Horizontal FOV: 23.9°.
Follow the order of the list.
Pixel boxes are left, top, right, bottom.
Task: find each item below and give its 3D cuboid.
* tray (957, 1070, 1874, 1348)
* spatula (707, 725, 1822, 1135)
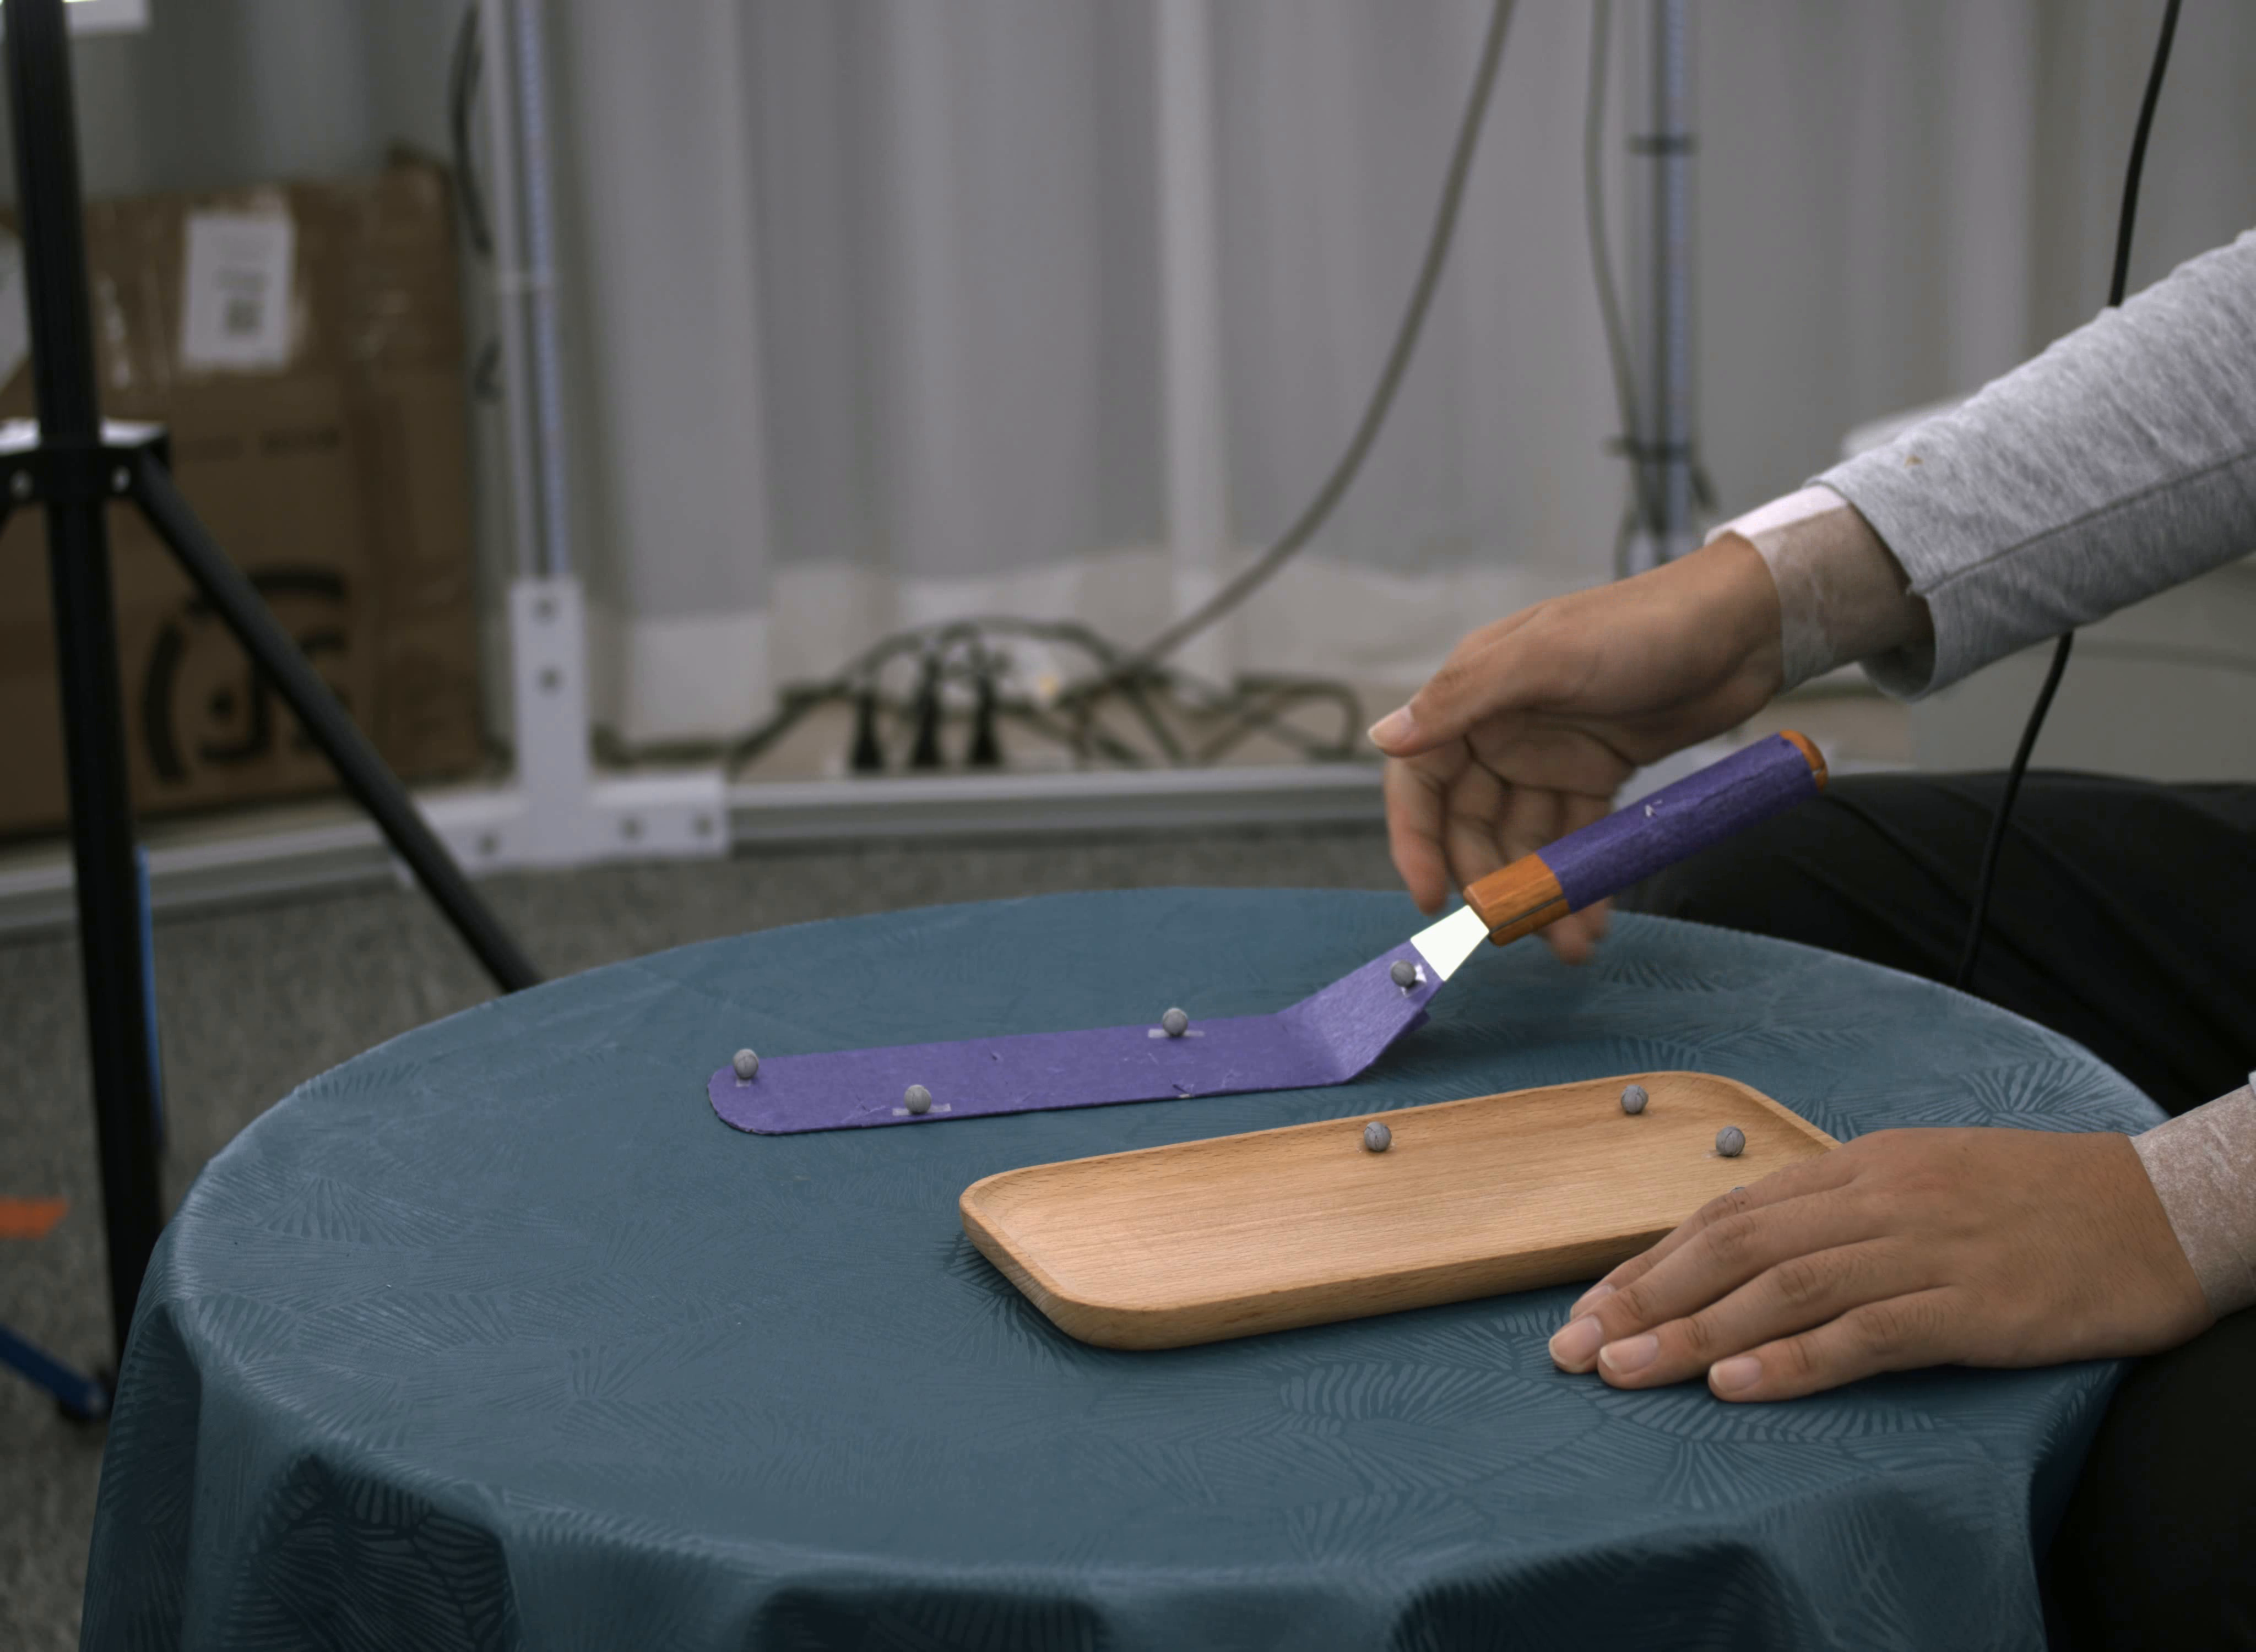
[{"bbox_3d":[0.082,0.108,1.511,0.246,0.023,0.132,-8,13,-17],"label":"tray"},{"bbox_3d":[0.045,0.034,1.666,0.358,0.086,0.076,-29,19,0],"label":"spatula"}]
